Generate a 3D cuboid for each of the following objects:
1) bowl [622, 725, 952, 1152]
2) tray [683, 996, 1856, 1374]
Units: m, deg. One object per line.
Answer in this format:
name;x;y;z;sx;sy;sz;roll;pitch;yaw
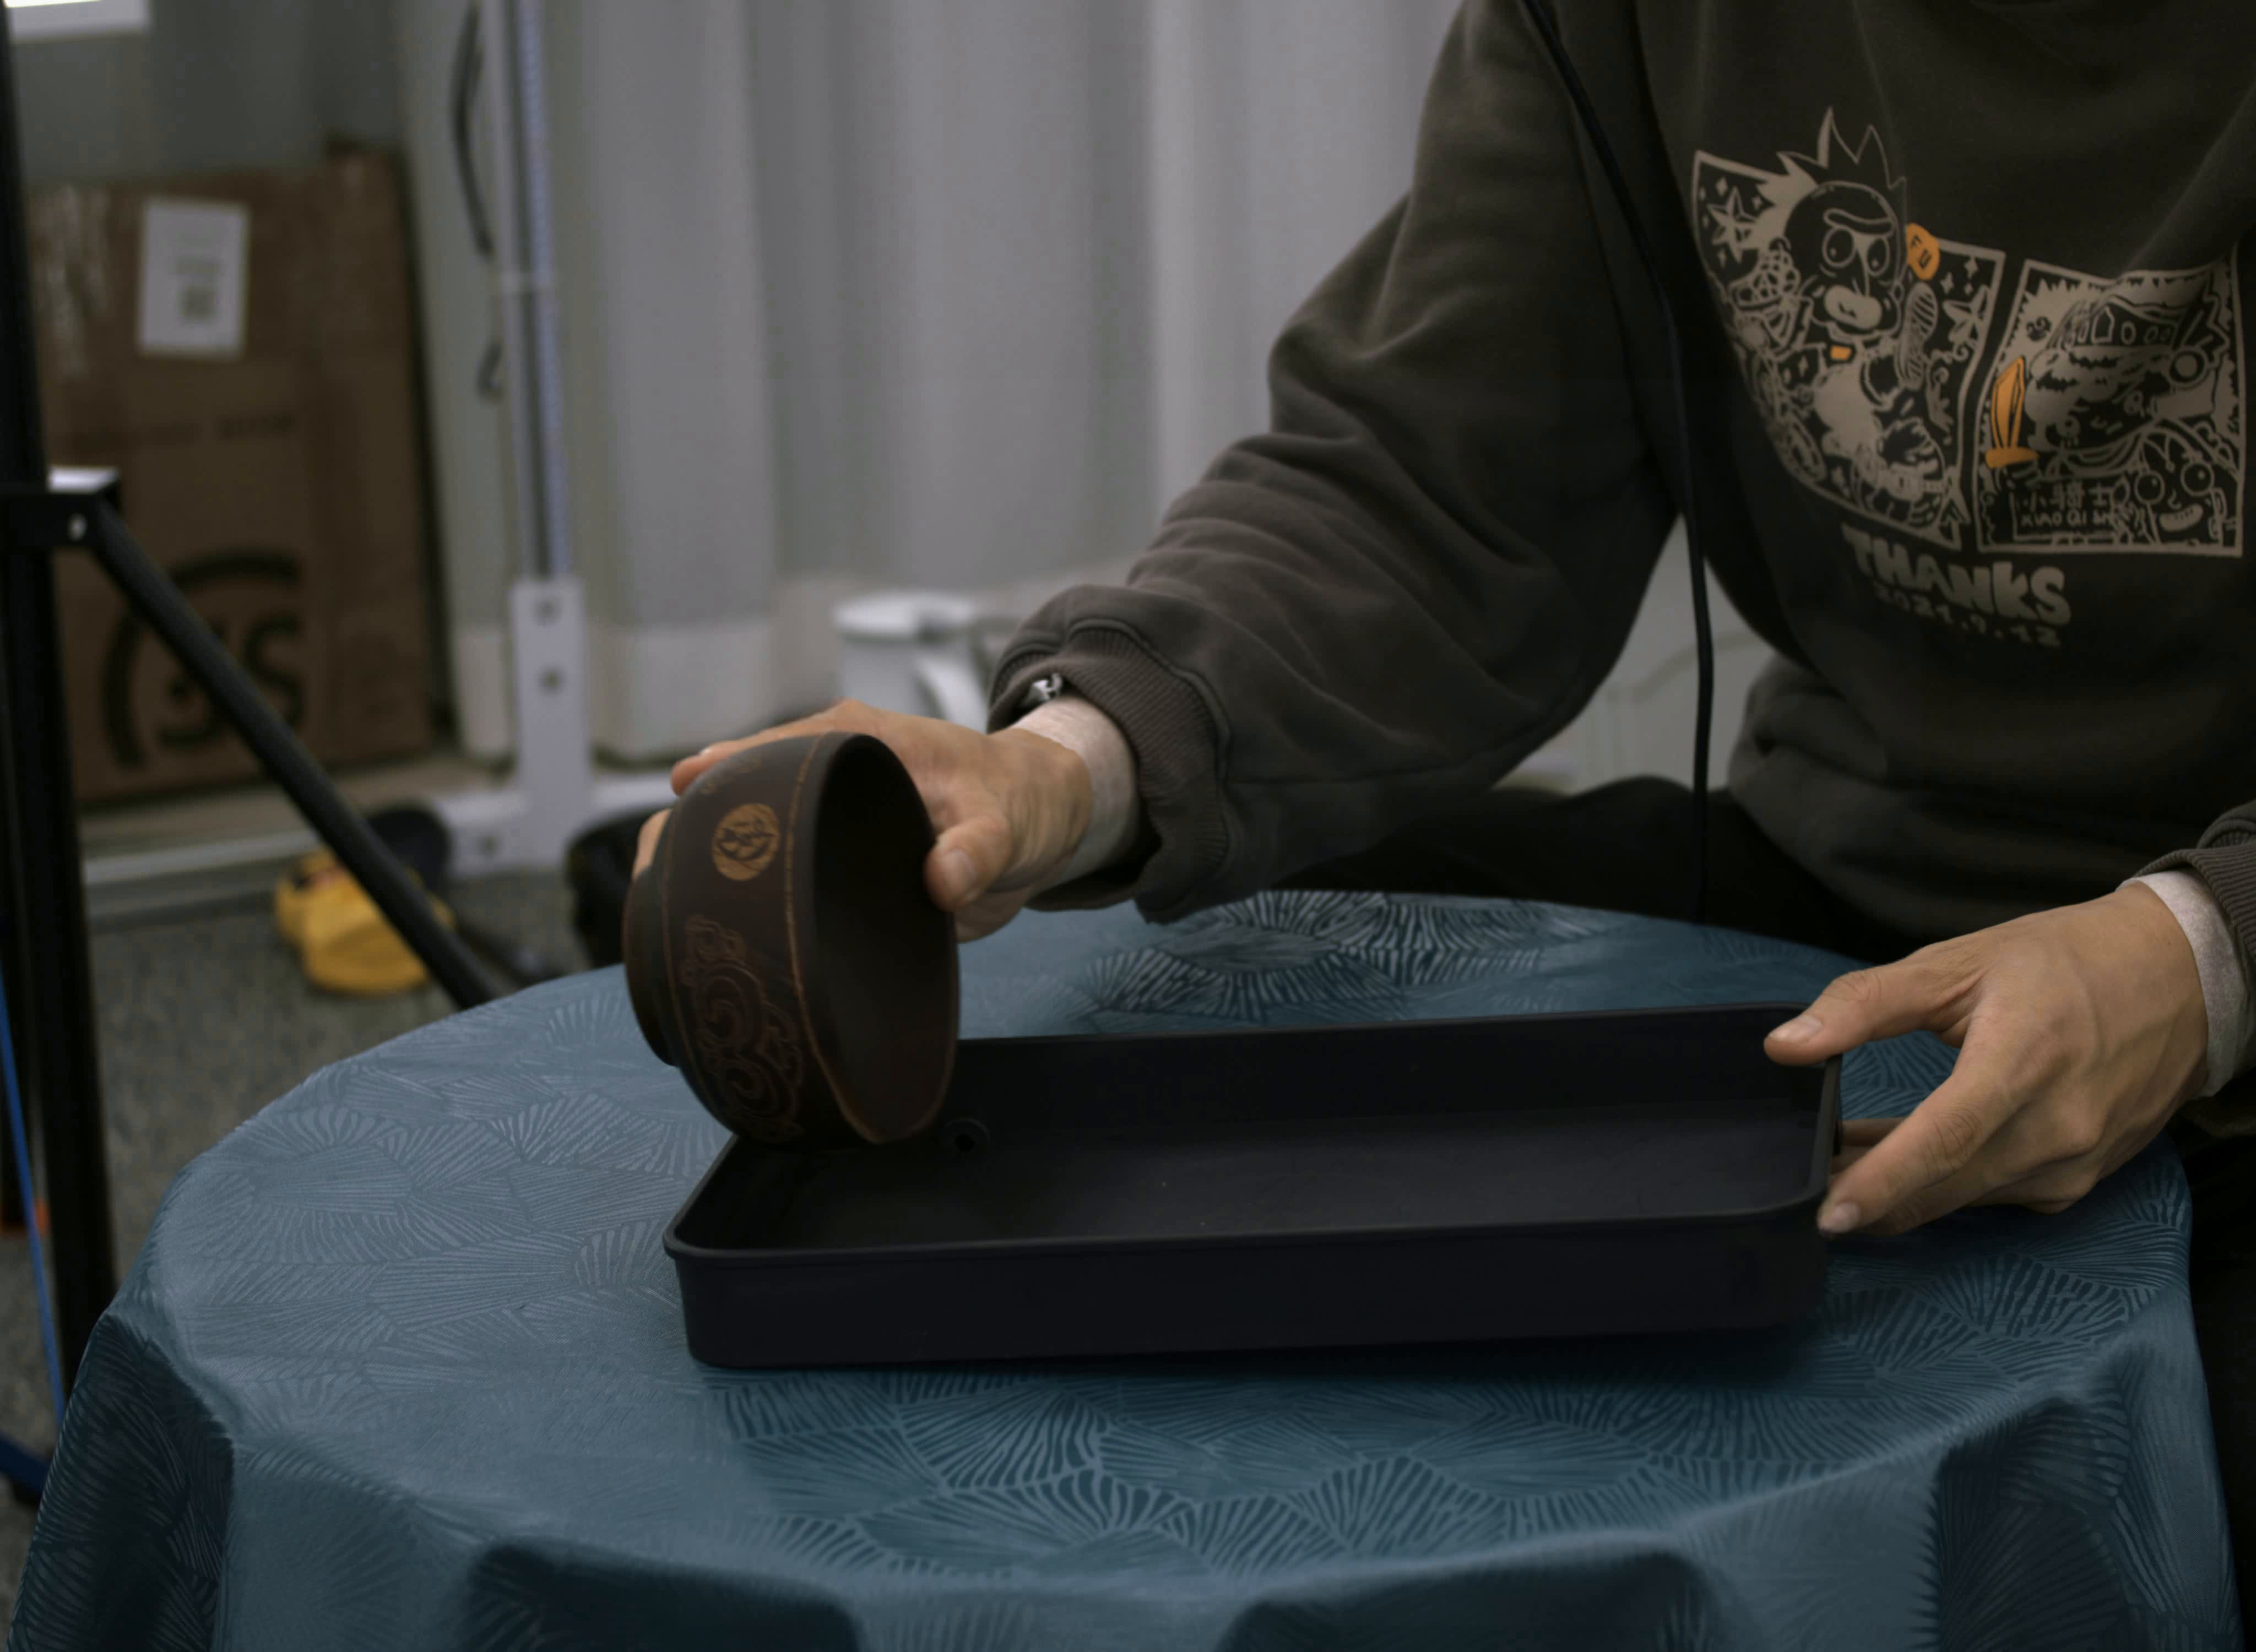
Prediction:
bowl;-0.100;0.034;1.493;0.070;0.118;0.117;-7;14;16
tray;0.046;0.099;1.488;0.319;0.037;0.184;-4;15;10
